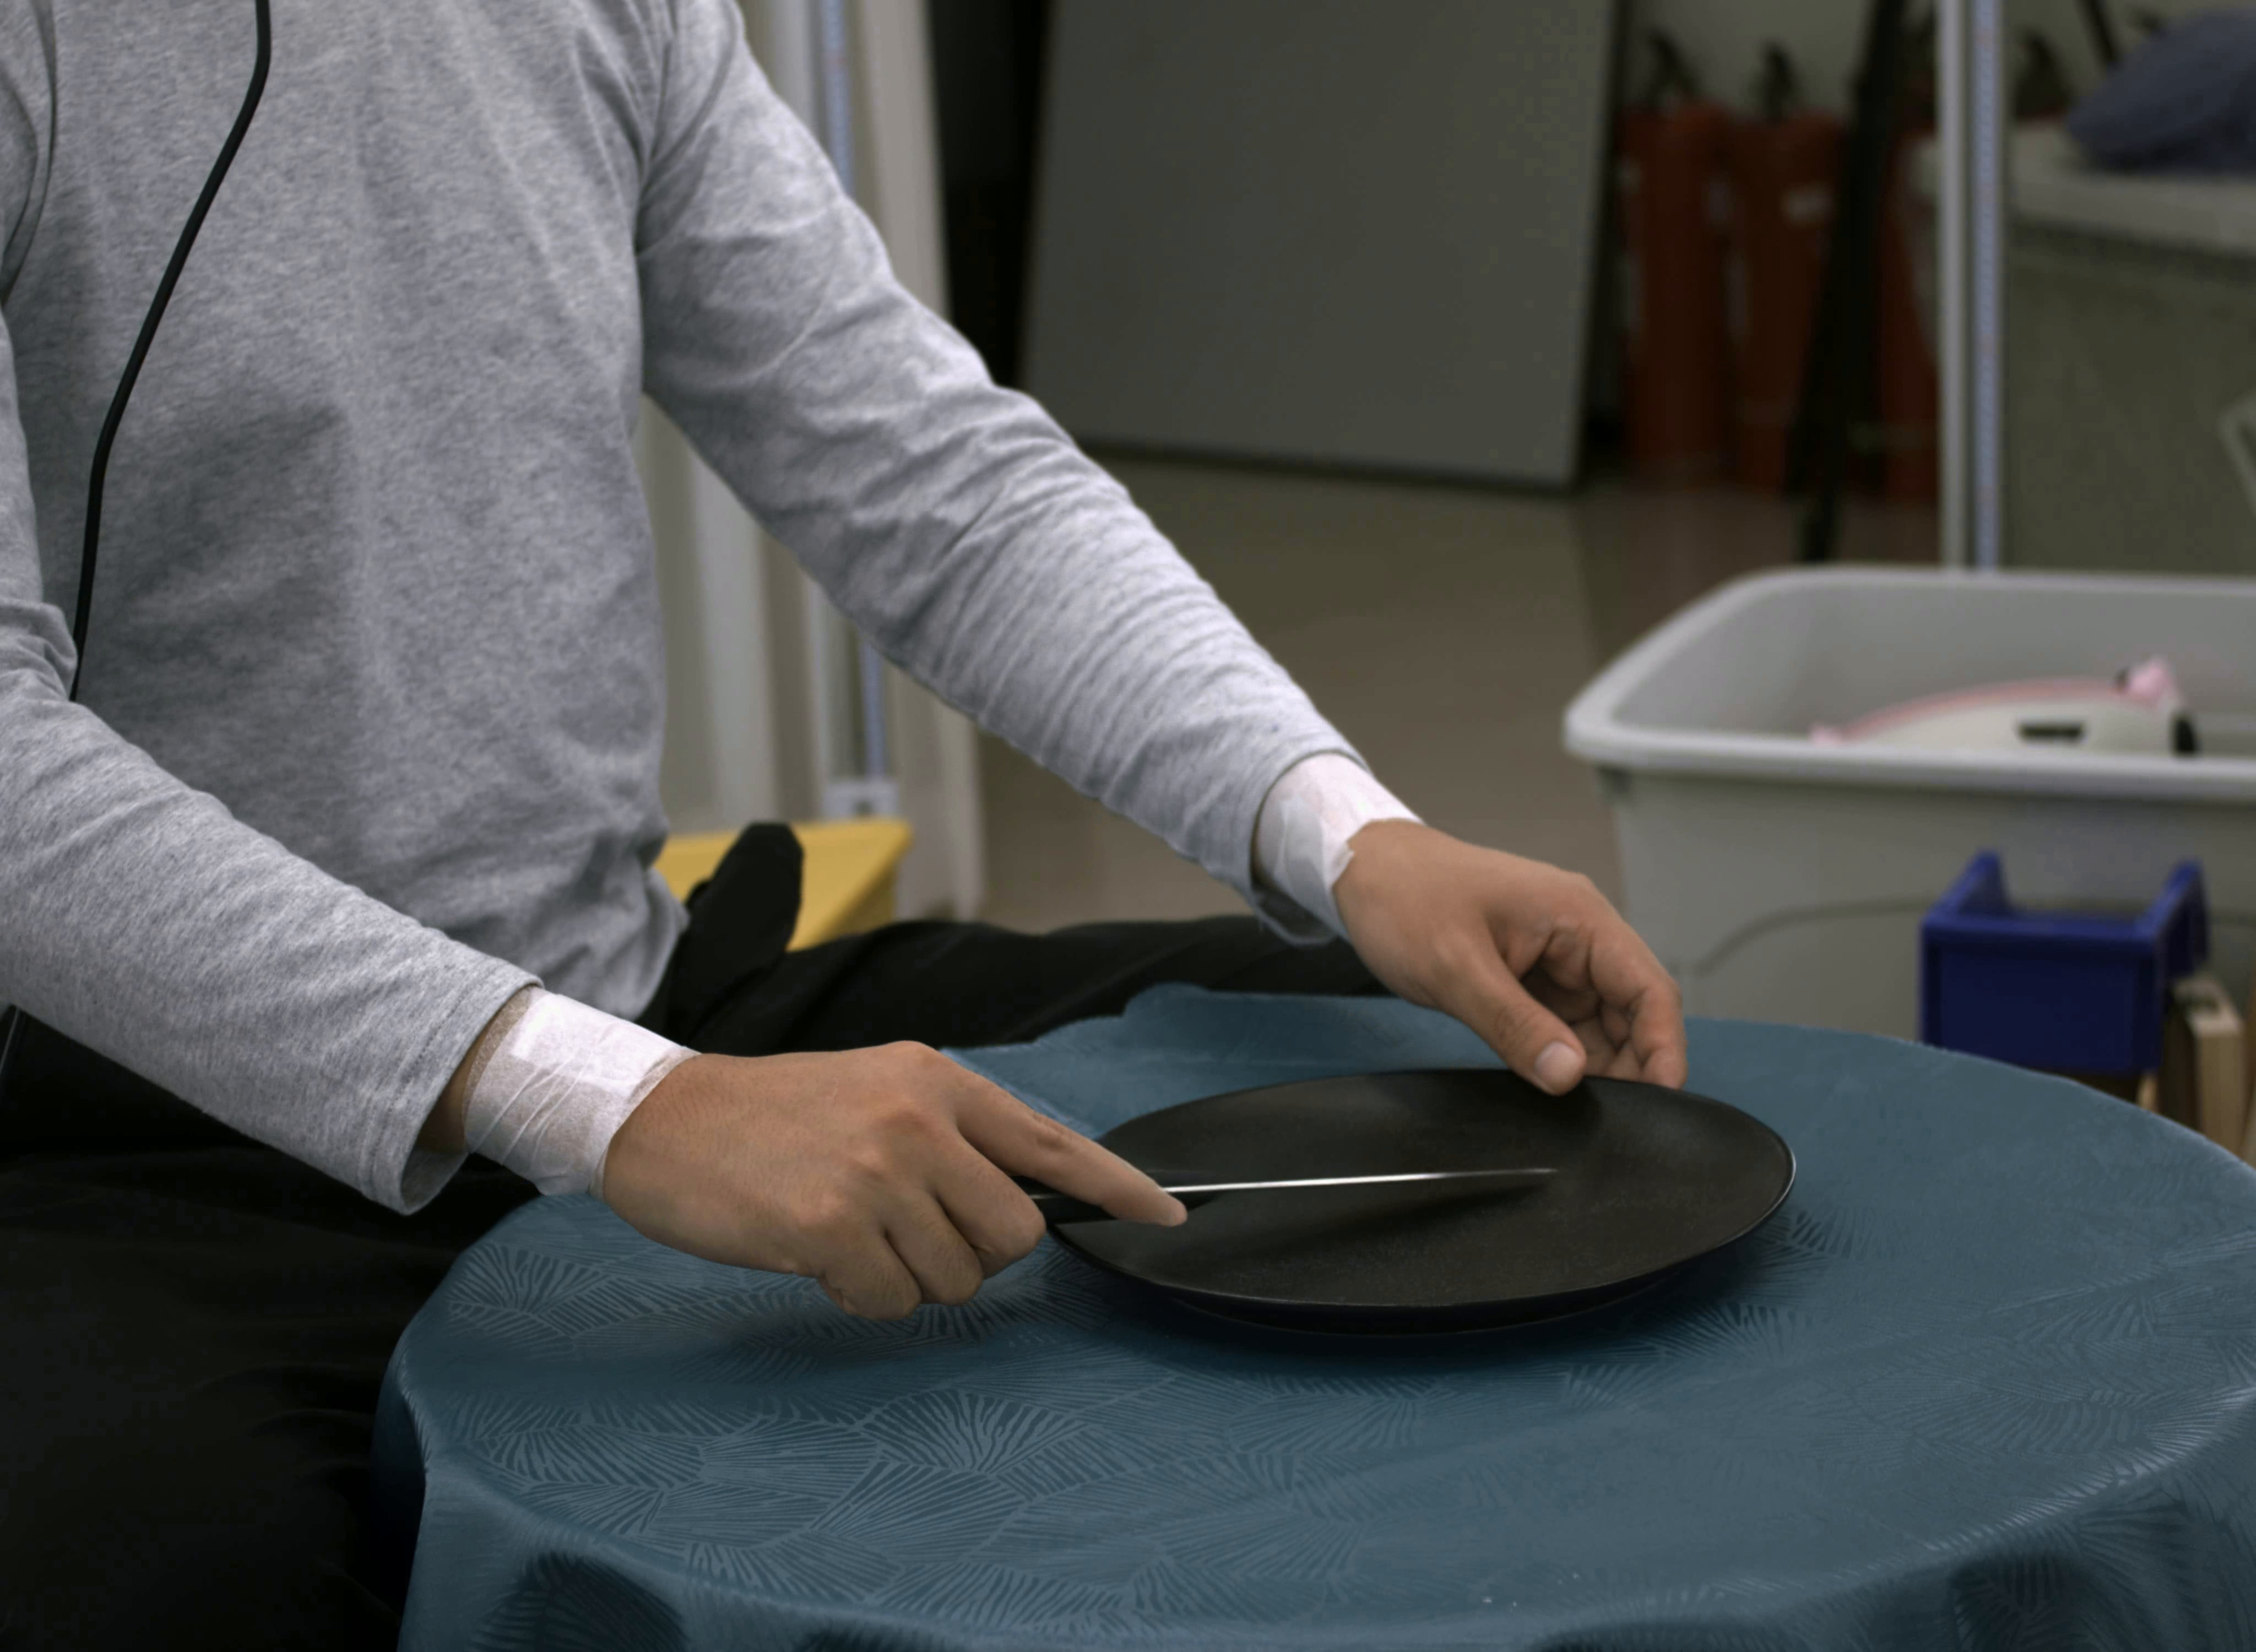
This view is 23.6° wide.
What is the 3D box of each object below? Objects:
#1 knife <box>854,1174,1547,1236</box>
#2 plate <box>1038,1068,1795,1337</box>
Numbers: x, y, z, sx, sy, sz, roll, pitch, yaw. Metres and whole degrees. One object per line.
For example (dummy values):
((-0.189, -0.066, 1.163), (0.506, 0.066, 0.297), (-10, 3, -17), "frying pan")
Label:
((0.028, 0.115, 1.685), (0.233, 0.016, 0.024), (-1, -7, -21), "knife")
((0.090, 0.121, 1.700), (0.241, 0.024, 0.245), (-4, 14, 0), "plate")
